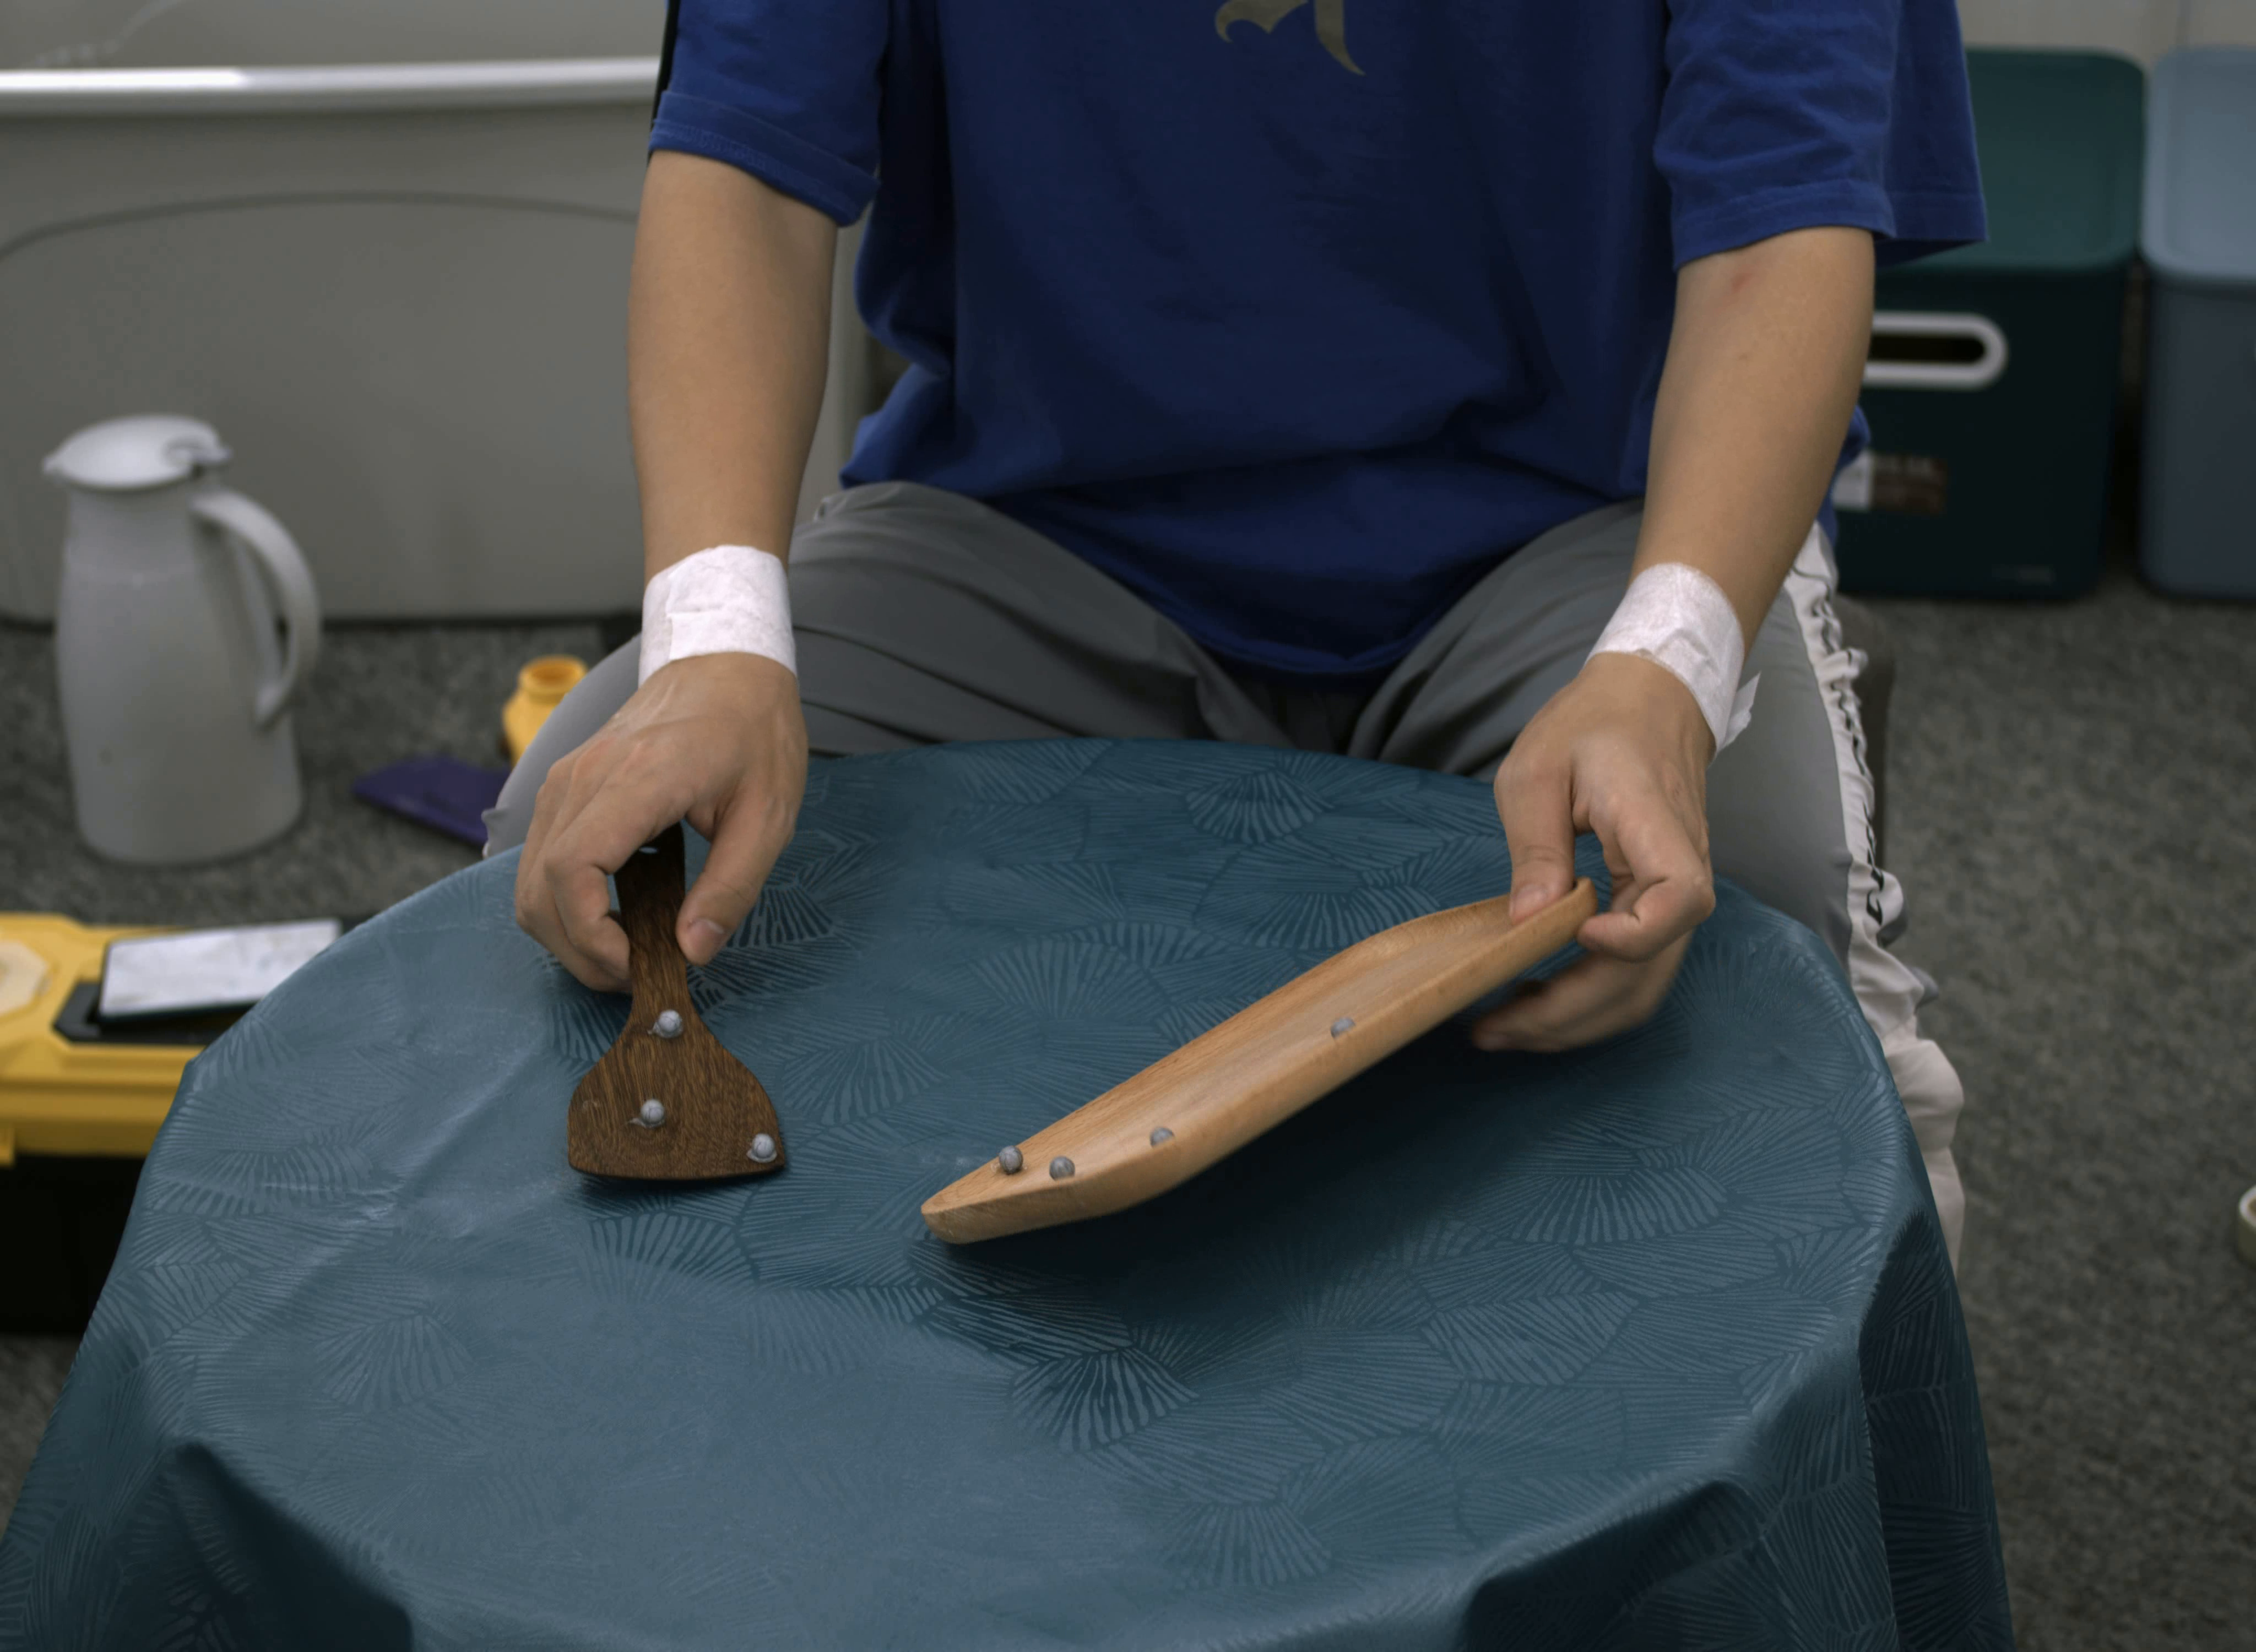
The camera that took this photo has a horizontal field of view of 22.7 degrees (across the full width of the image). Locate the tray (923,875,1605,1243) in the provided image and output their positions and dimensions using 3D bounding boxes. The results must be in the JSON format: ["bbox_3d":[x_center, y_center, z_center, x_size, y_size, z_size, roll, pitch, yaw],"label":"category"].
[{"bbox_3d":[0.048,0.077,1.867,0.254,0.023,0.129,-28,11,-39],"label":"tray"}]

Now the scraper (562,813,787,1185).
[{"bbox_3d":[-0.162,0.059,1.956,0.075,0.010,0.215,0,36,-8],"label":"scraper"}]
